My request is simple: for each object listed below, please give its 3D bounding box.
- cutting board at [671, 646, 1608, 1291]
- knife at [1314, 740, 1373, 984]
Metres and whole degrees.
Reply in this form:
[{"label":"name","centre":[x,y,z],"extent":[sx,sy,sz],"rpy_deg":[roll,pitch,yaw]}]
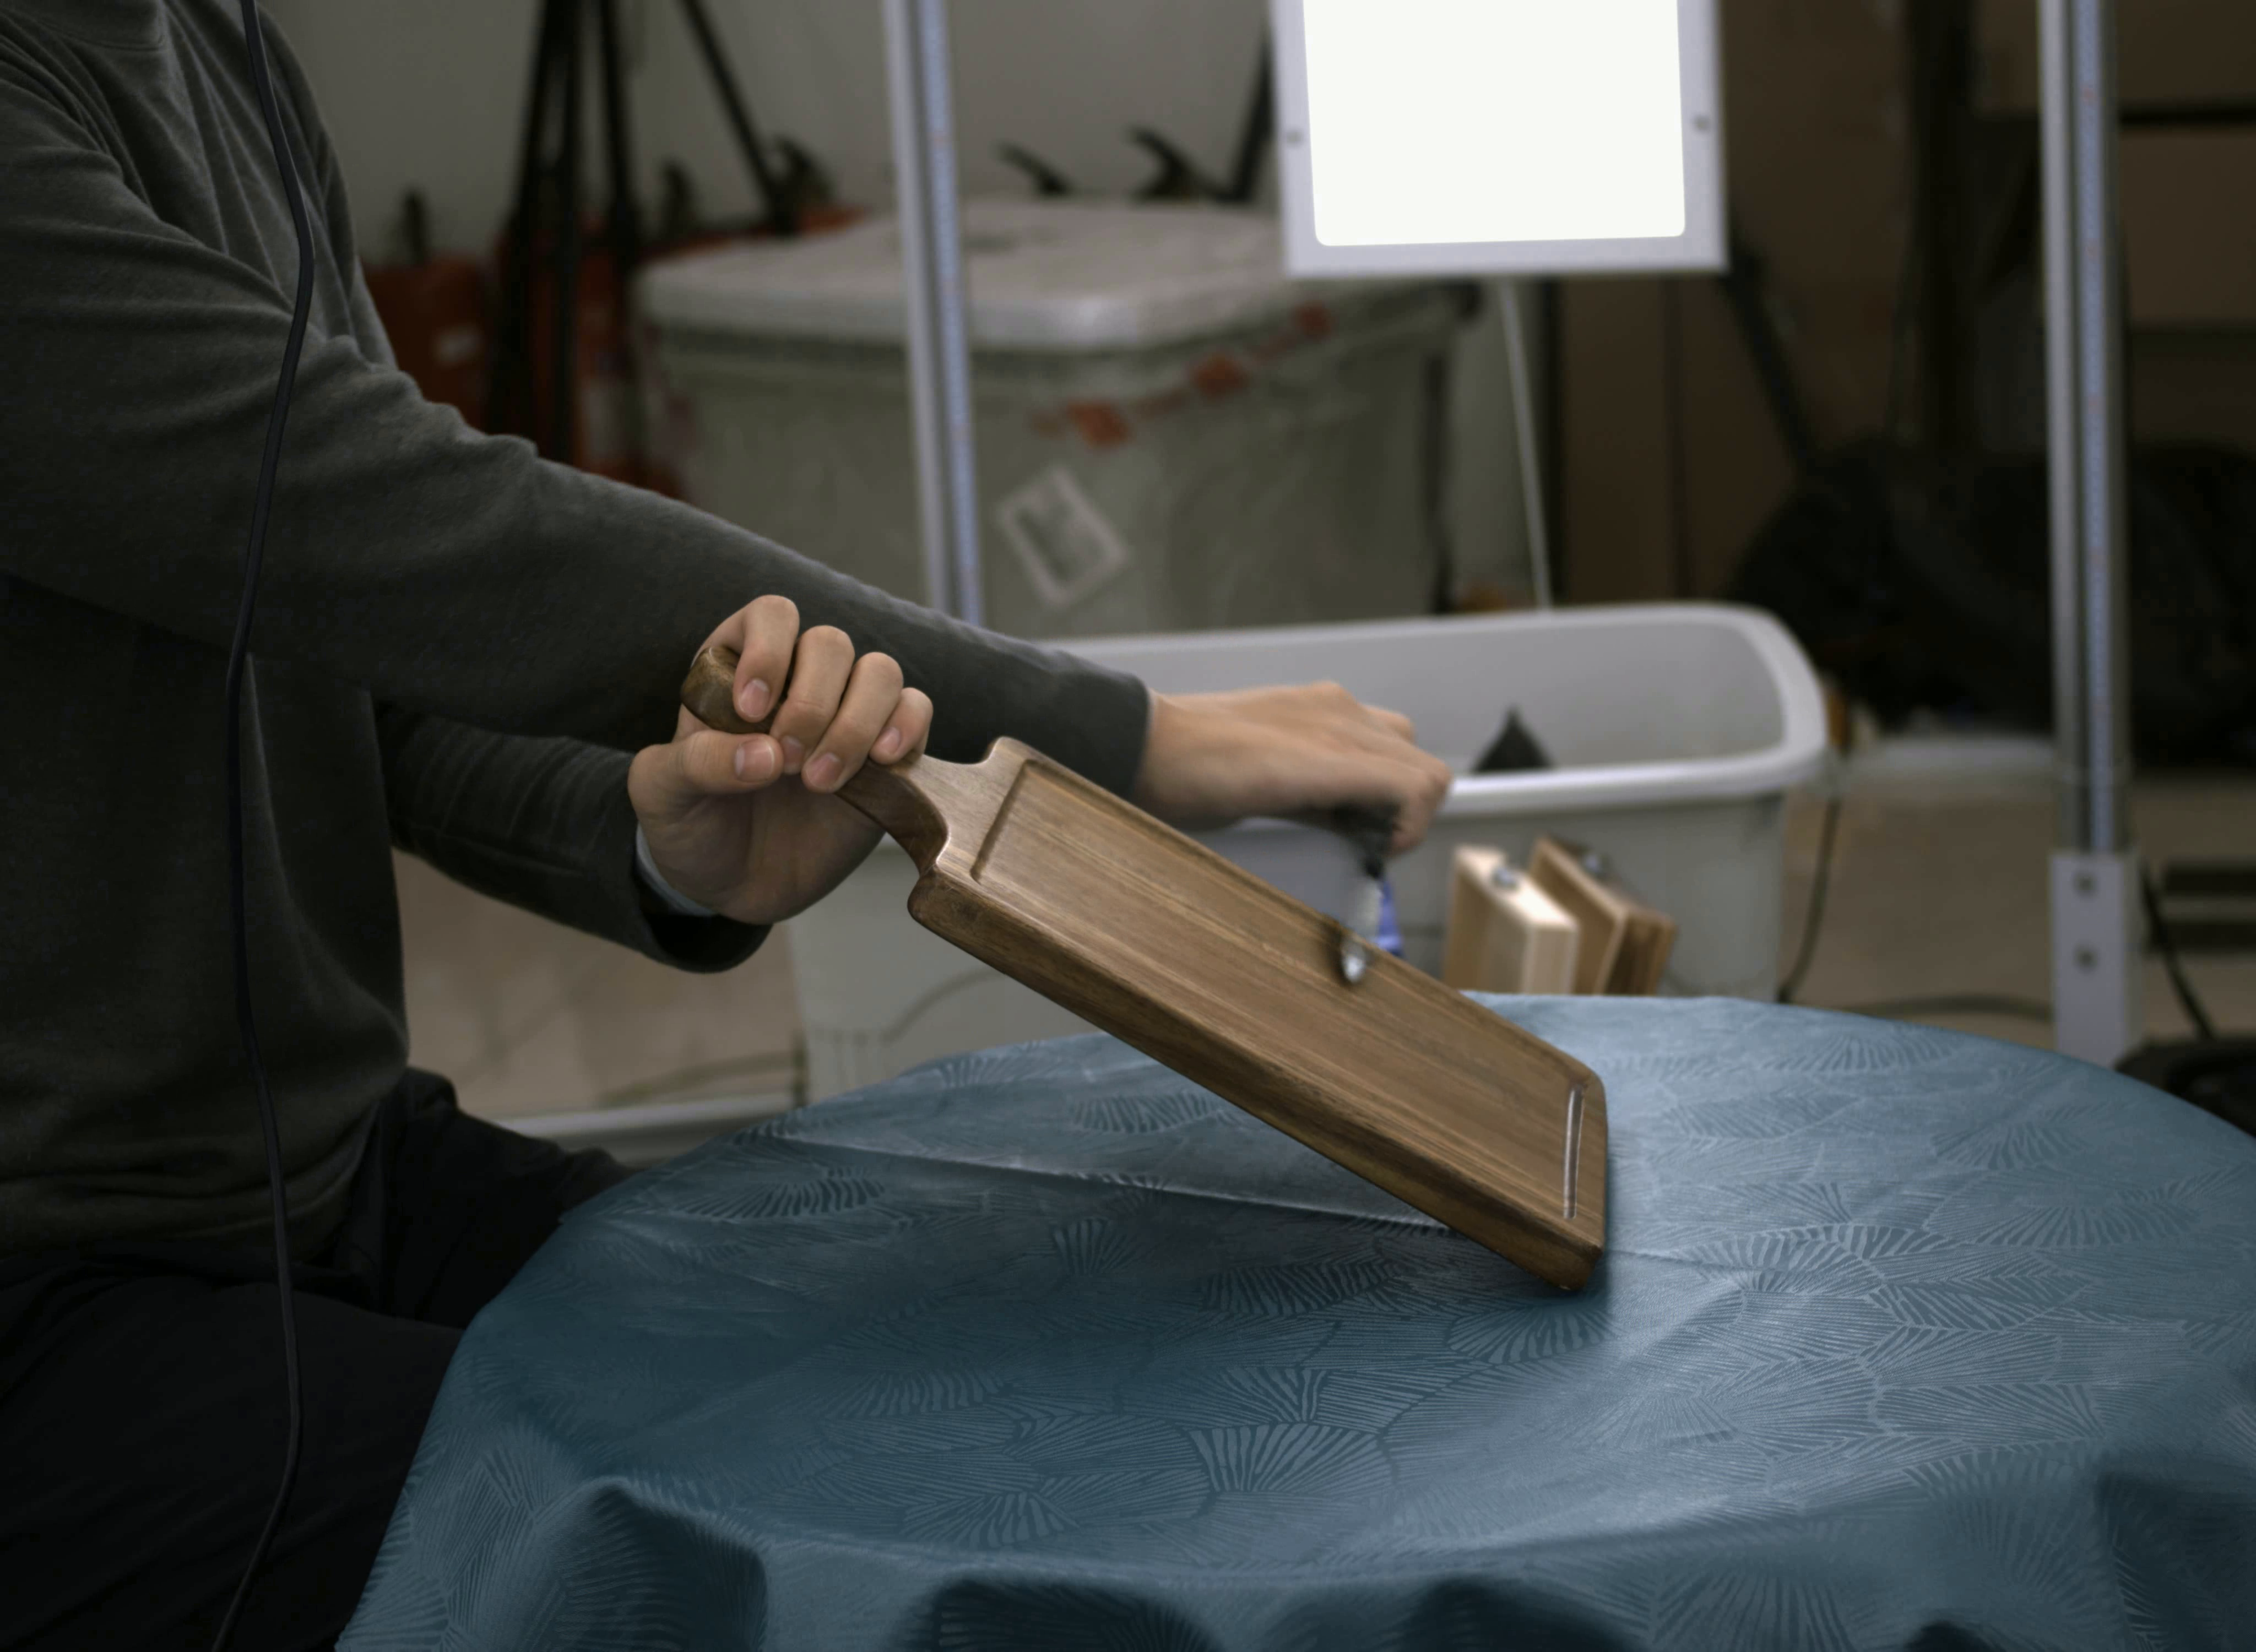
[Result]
[{"label":"cutting board","centre":[0.006,0.034,1.840],"extent":[0.351,0.023,0.199],"rpy_deg":[29,15,-1]},{"label":"knife","centre":[0.078,0.012,1.984],"extent":[0.024,0.016,0.237],"rpy_deg":[37,17,-10]}]
